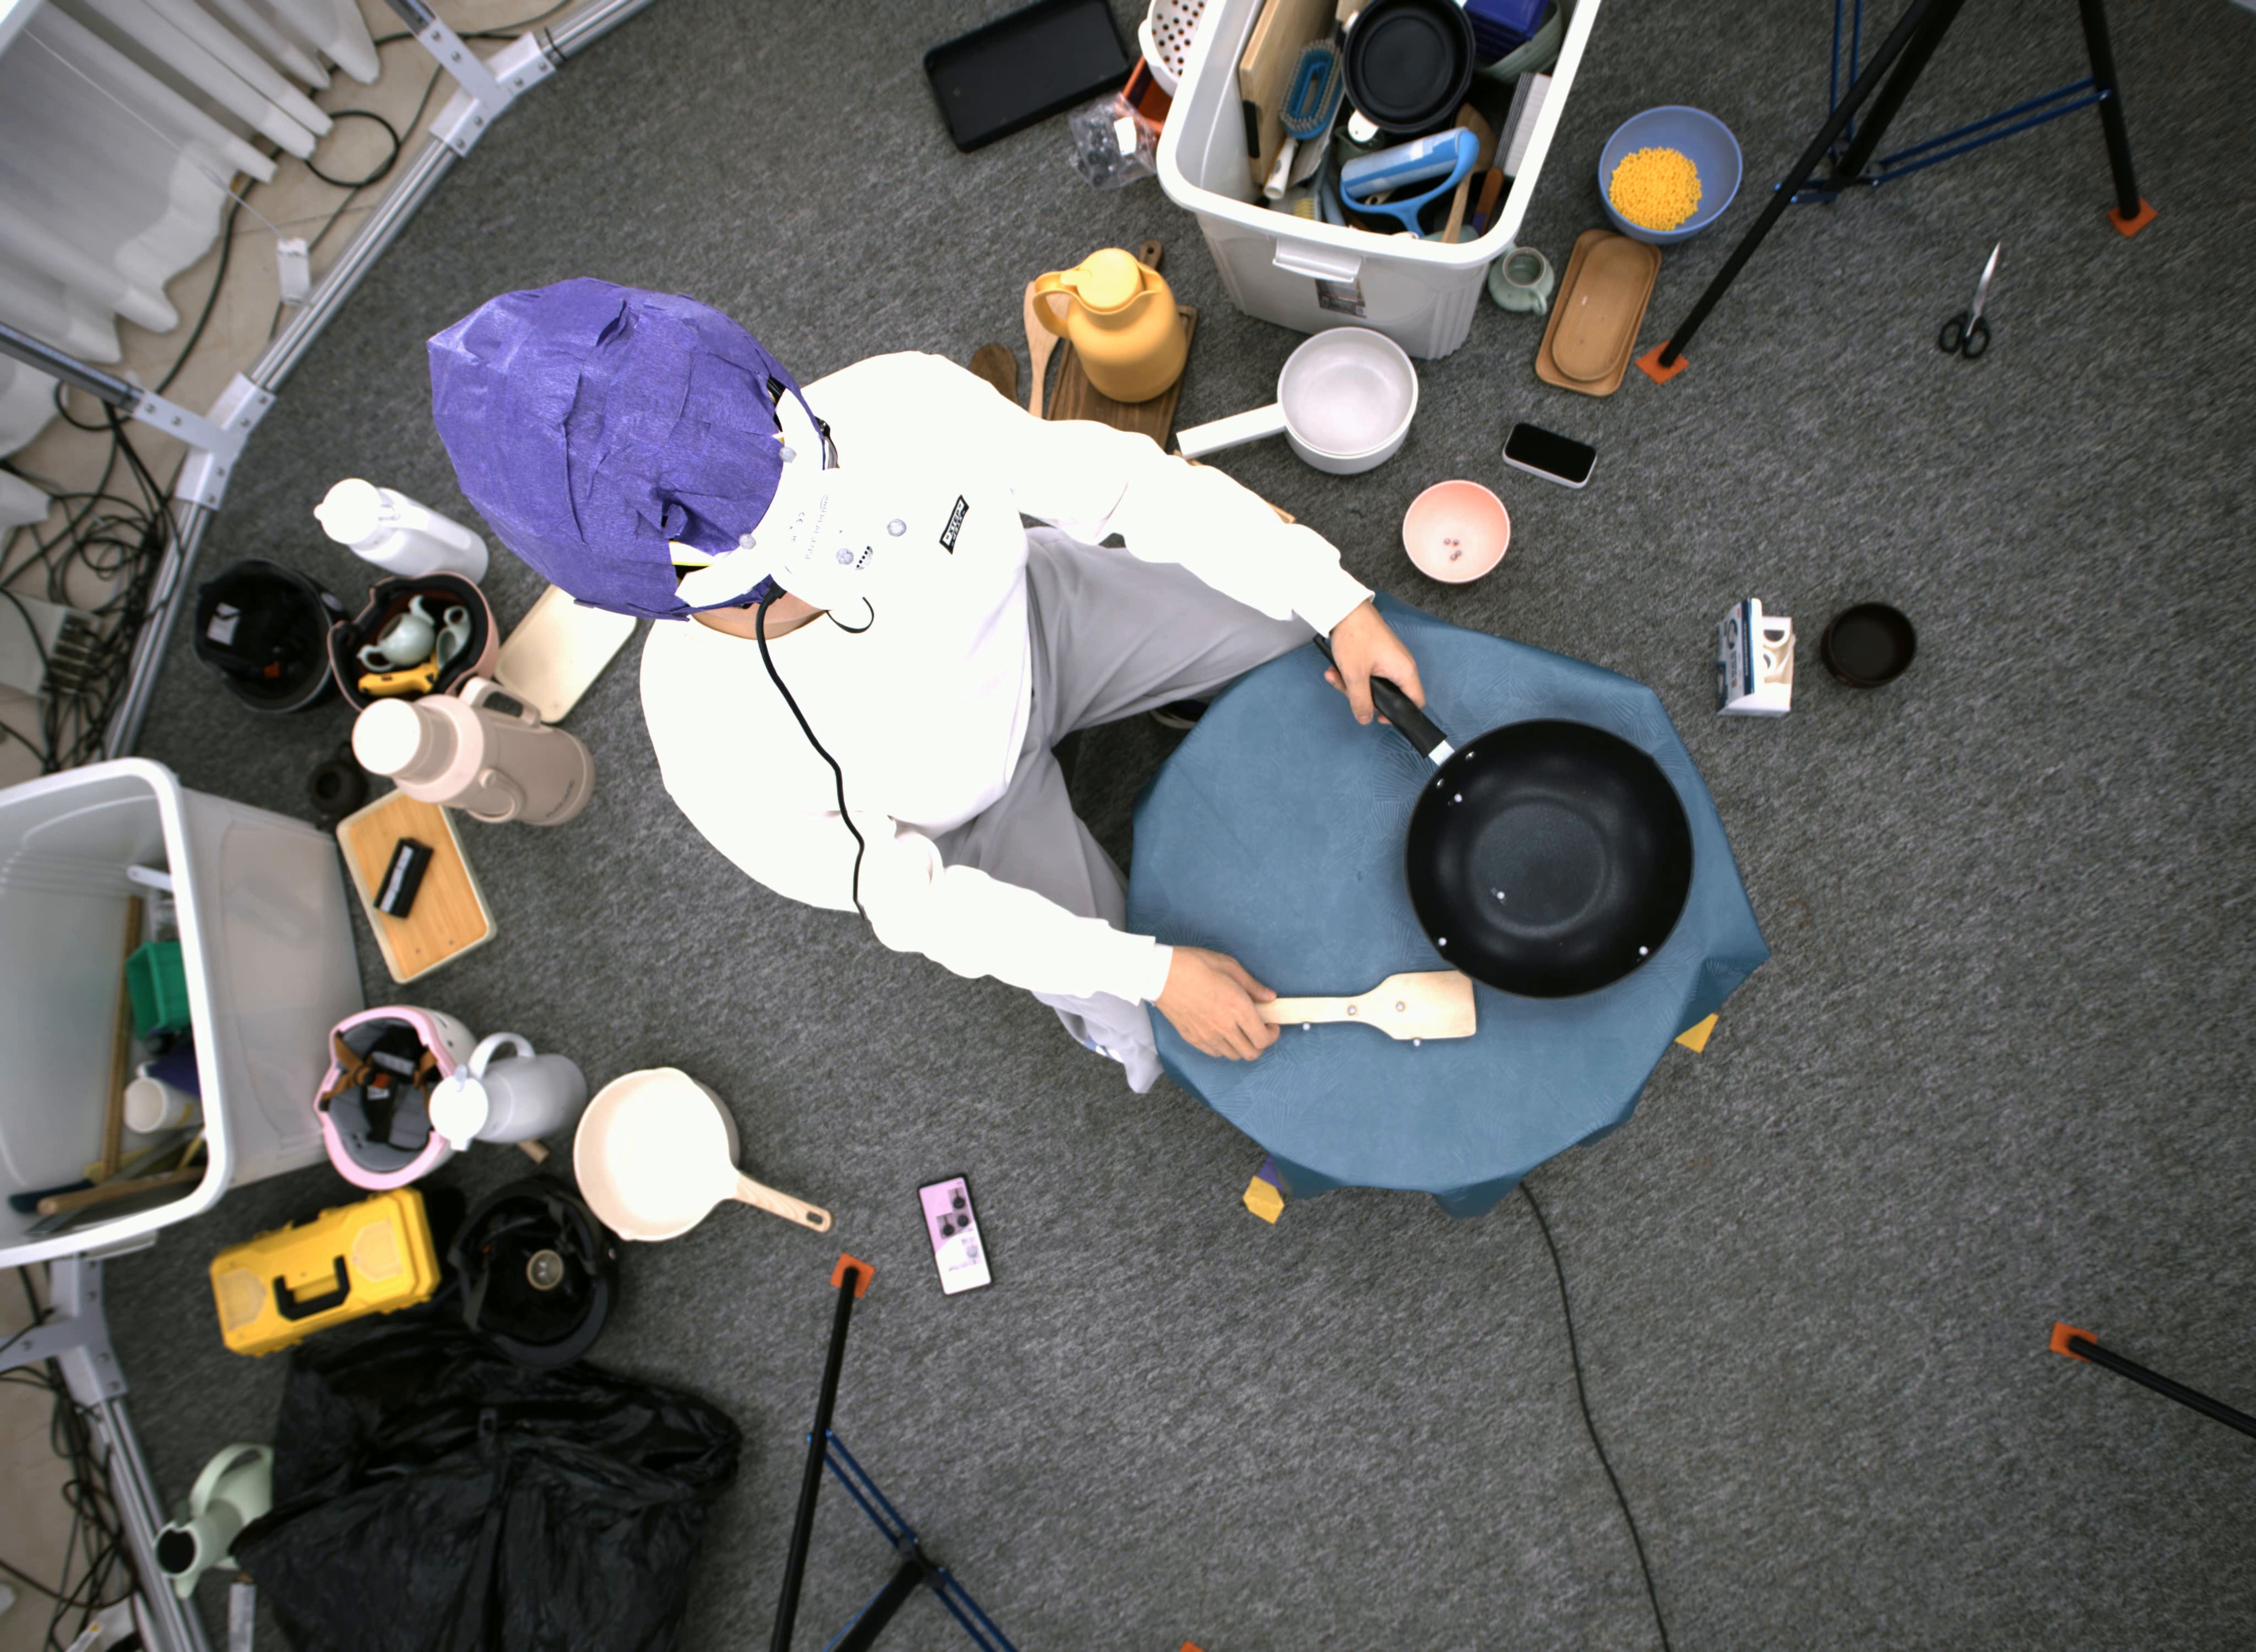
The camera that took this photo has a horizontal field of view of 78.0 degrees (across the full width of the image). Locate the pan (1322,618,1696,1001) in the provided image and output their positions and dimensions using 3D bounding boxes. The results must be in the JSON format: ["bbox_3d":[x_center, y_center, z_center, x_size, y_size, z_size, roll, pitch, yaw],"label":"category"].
[{"bbox_3d":[0.360,-0.032,1.405,0.289,0.087,0.461,-44,79,5],"label":"pan"}]

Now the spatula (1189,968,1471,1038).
[{"bbox_3d":[0.209,0.189,1.450,0.294,0.011,0.071,-3,74,8],"label":"spatula"}]
